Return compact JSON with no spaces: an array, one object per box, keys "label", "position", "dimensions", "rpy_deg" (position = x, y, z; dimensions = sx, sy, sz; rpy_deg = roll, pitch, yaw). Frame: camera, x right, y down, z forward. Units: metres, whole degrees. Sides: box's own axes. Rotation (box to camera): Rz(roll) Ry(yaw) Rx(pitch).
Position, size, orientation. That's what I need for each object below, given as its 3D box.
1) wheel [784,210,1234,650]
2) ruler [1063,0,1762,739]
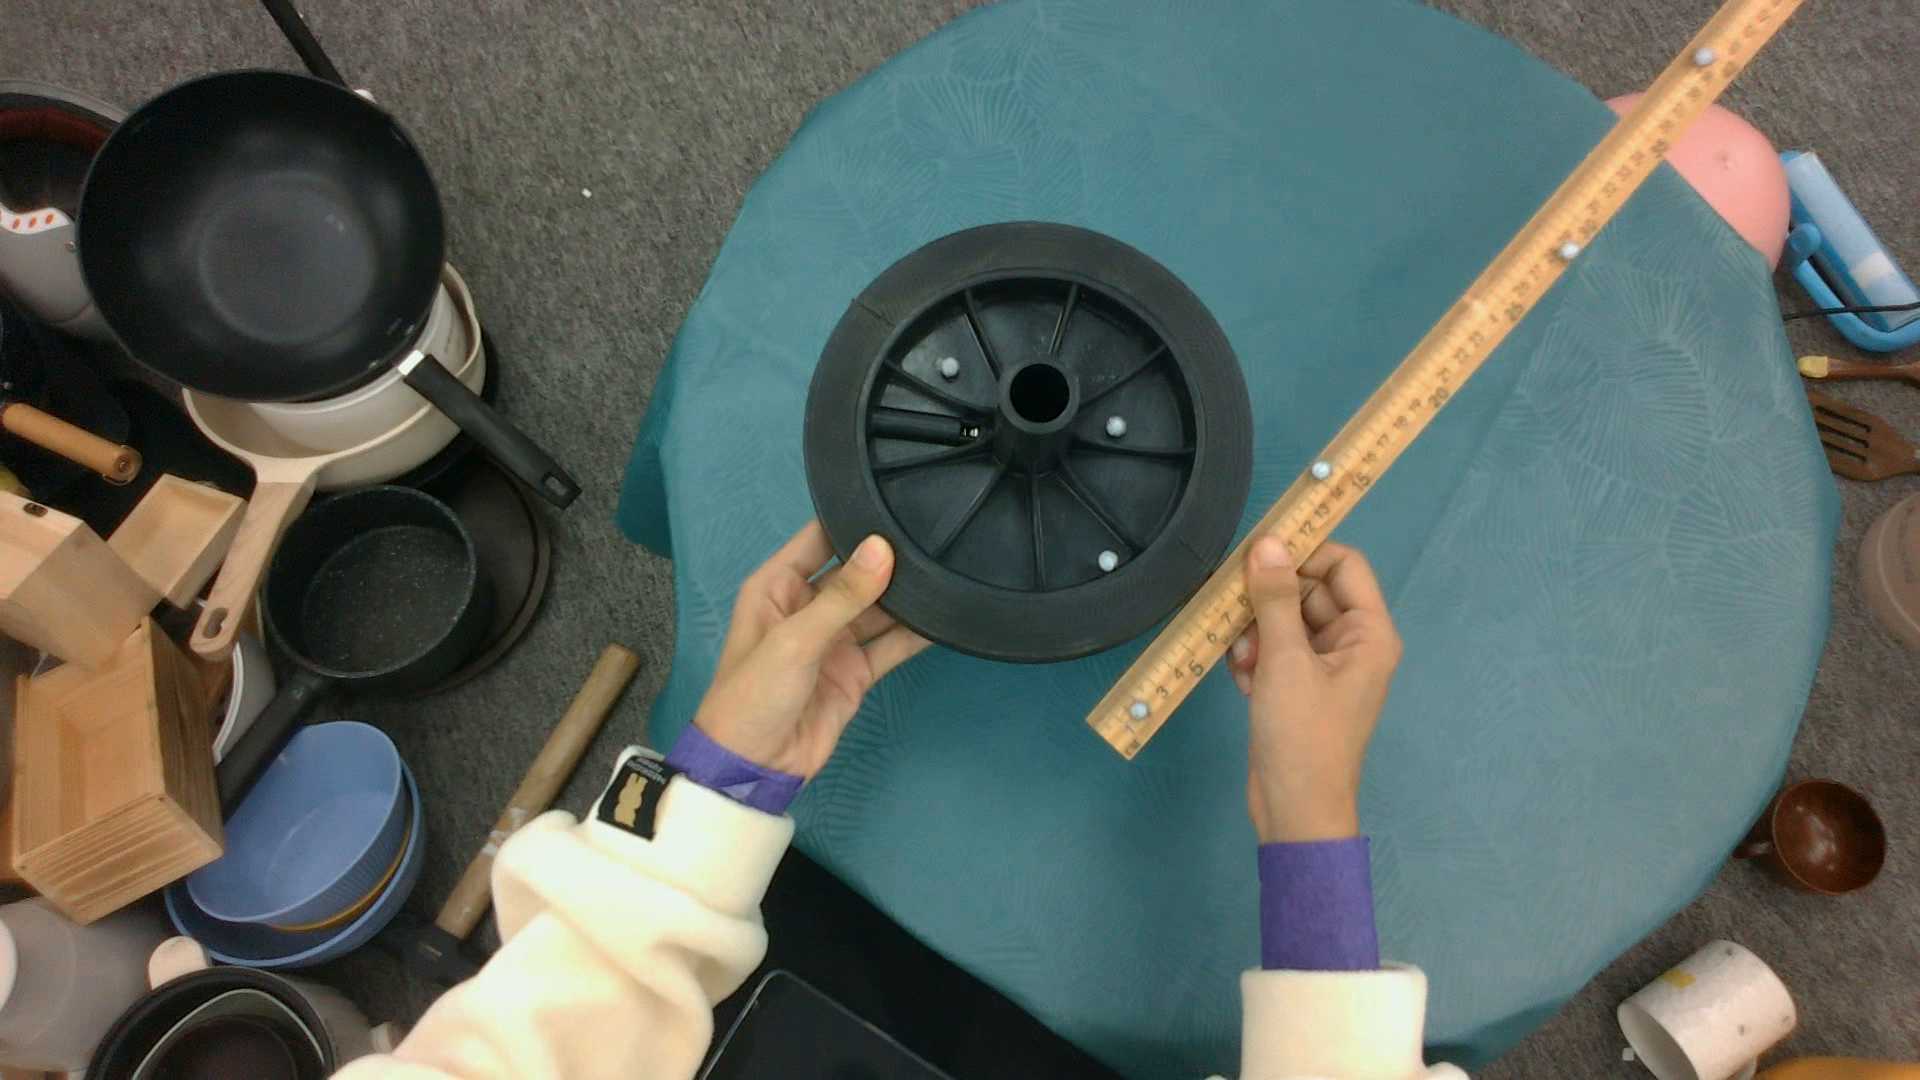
[{"label":"wheel","position":[0.022,-0.052,0.558],"dimensions":[0.190,0.079,0.187],"rpy_deg":[-16,79,-5]},{"label":"ruler","position":[0.219,-0.107,0.592],"dimensions":[0.027,0.006,0.501],"rpy_deg":[43,81,0]}]
